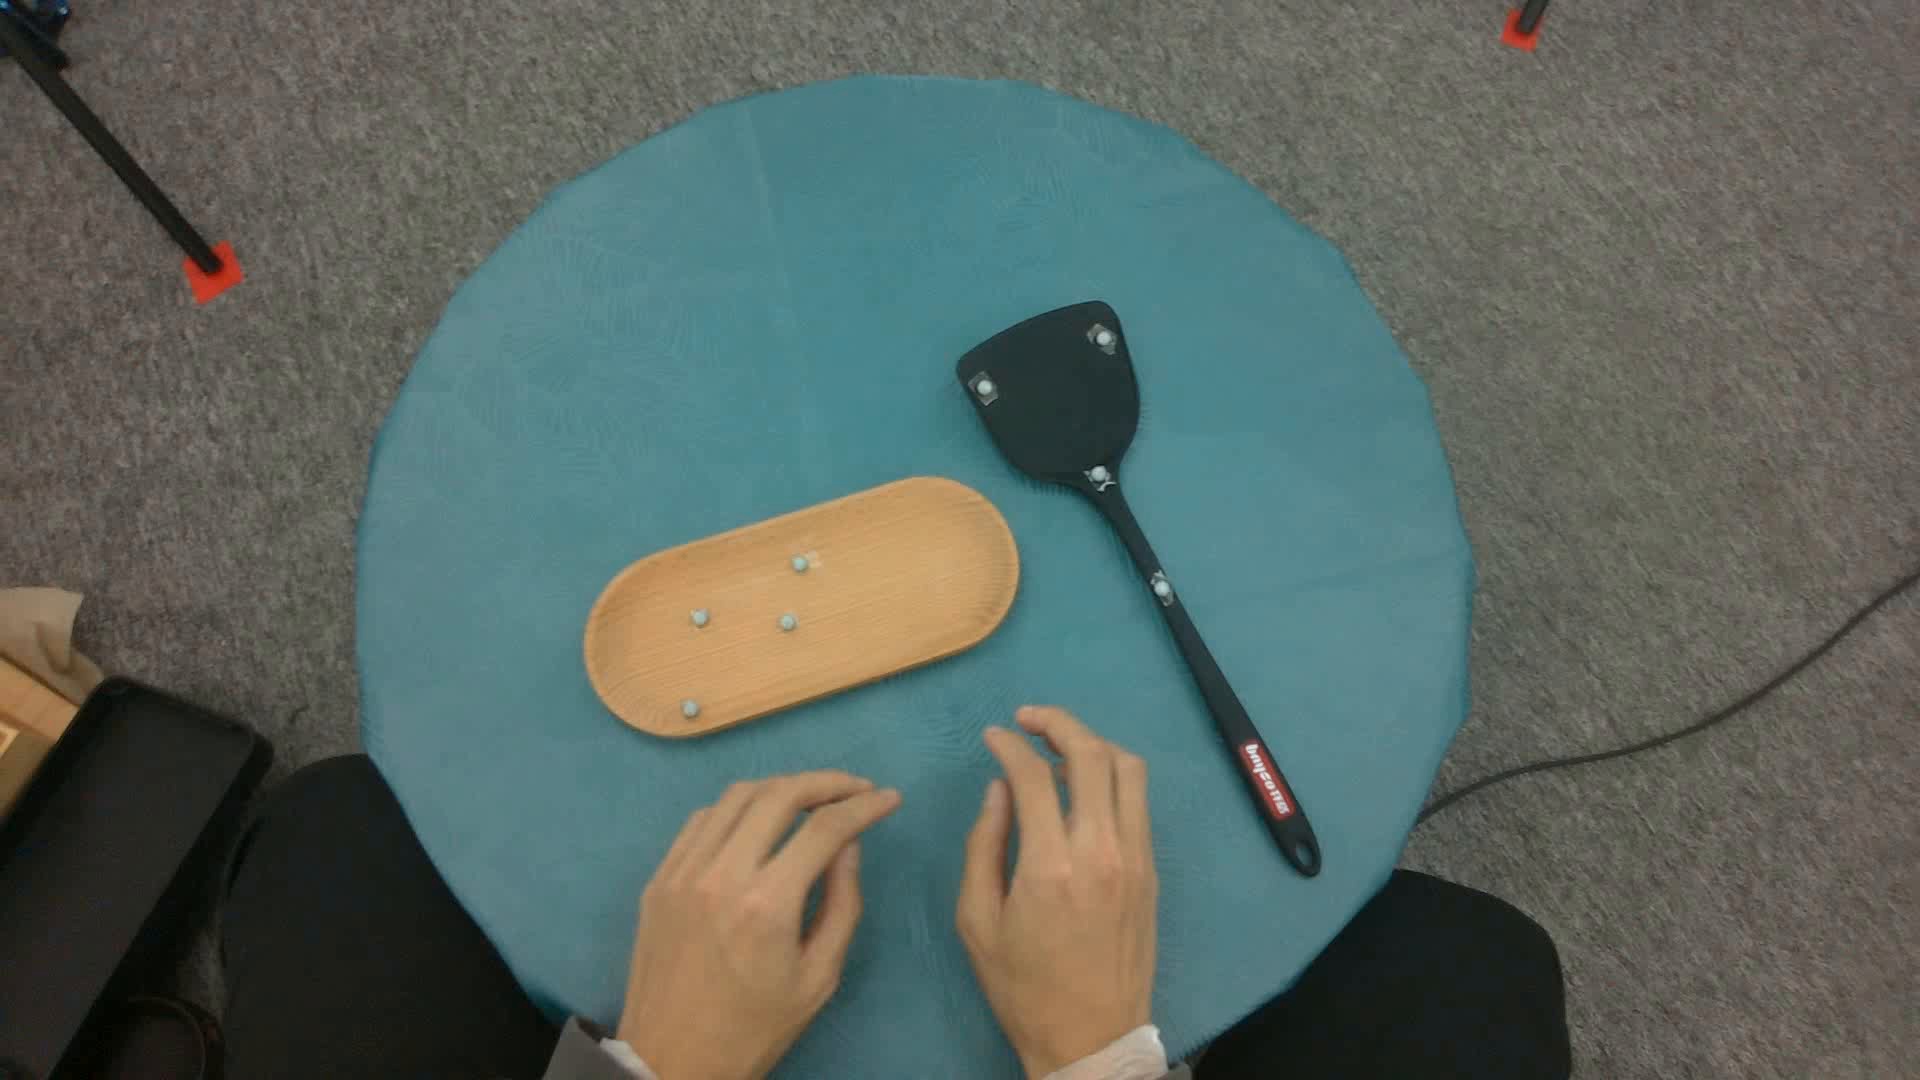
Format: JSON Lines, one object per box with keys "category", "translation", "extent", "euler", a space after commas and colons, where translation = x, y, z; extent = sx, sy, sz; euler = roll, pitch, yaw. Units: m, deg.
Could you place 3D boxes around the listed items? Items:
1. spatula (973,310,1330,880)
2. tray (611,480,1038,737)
{"category": "spatula", "translation": [0.115, 0.027, 0.732], "extent": [0.100, 0.040, 0.326], "euler": [-24, 71, -8]}
{"category": "tray", "translation": [-0.071, 0.036, 0.736], "extent": [0.231, 0.020, 0.102], "euler": [-16, 71, -8]}
